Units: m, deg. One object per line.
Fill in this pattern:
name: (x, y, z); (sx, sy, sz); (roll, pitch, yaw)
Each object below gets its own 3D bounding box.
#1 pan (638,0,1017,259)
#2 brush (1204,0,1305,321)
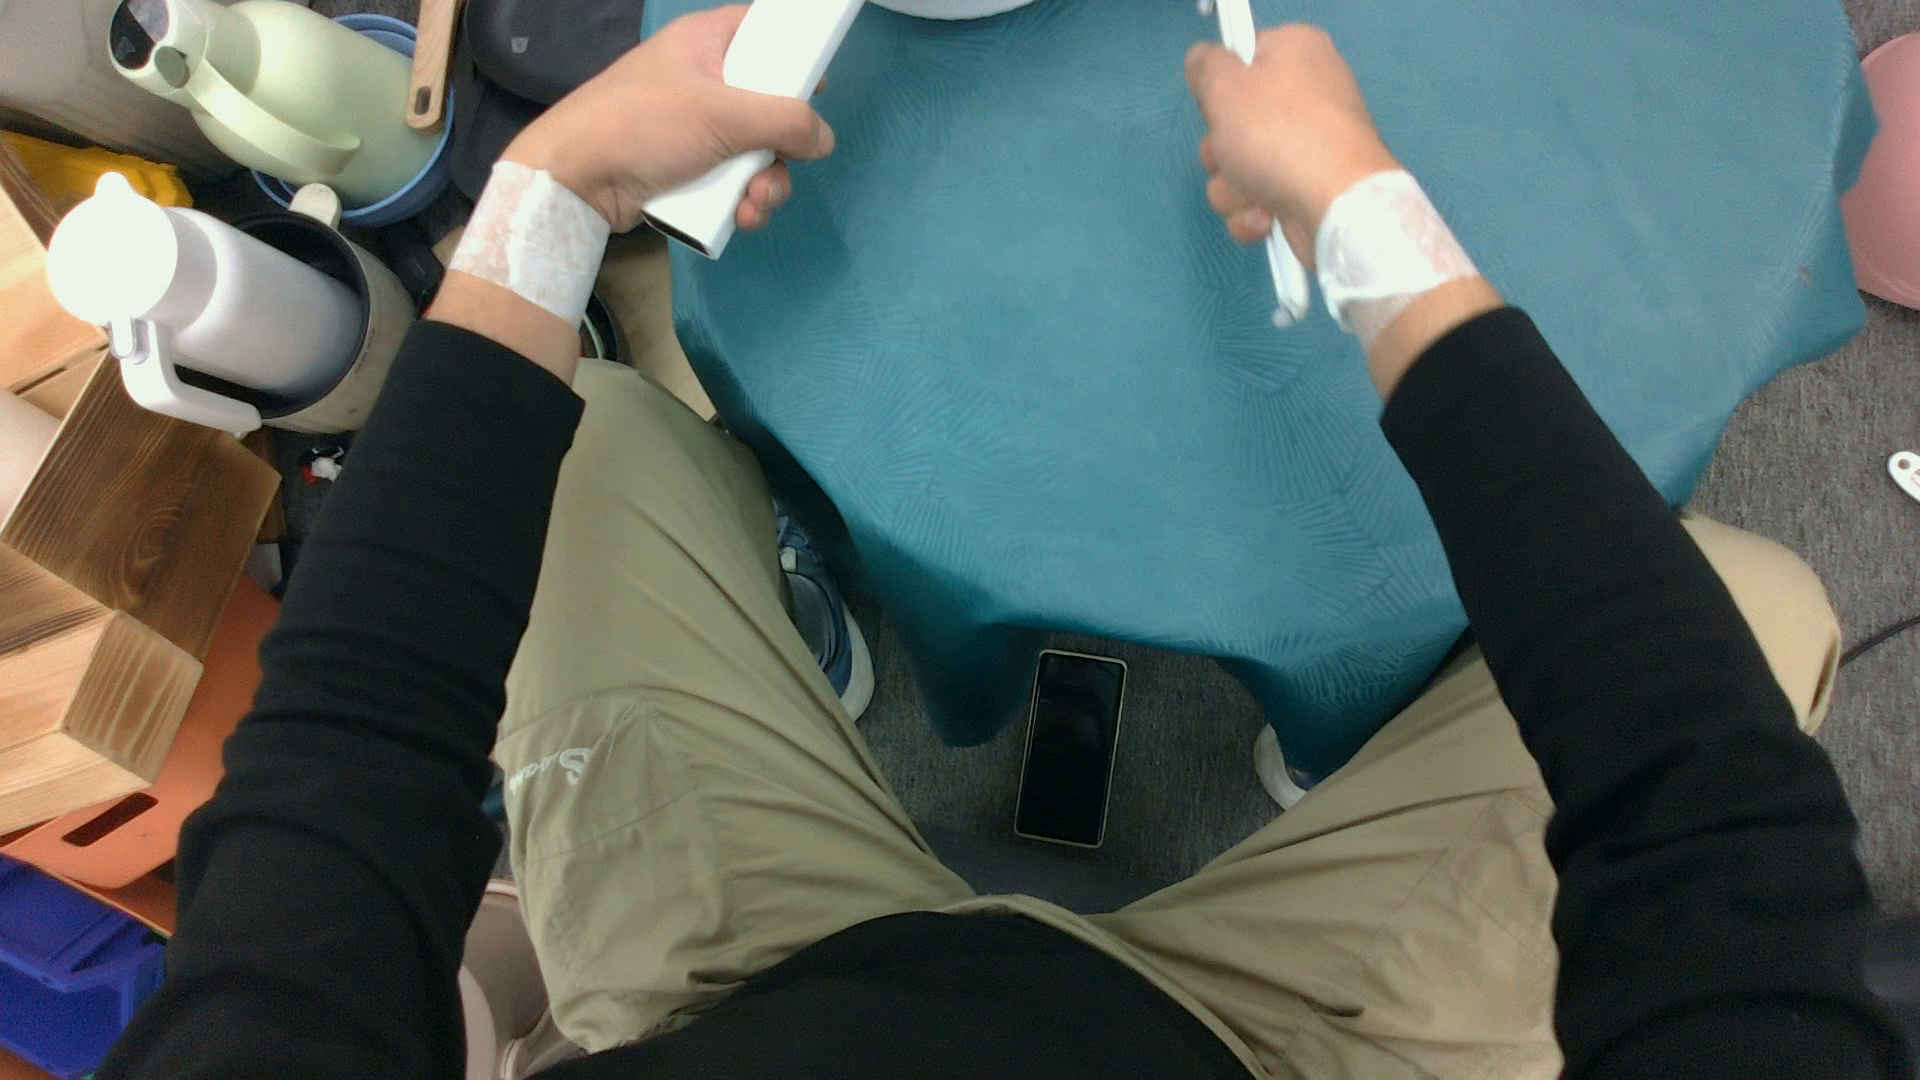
pan: (-0.046, -0.294, 0.671); (0.201, 0.102, 0.355); (27, 88, 2)
brush: (0.107, -0.224, 0.607); (0.056, 0.068, 0.267); (-6, 82, 0)
